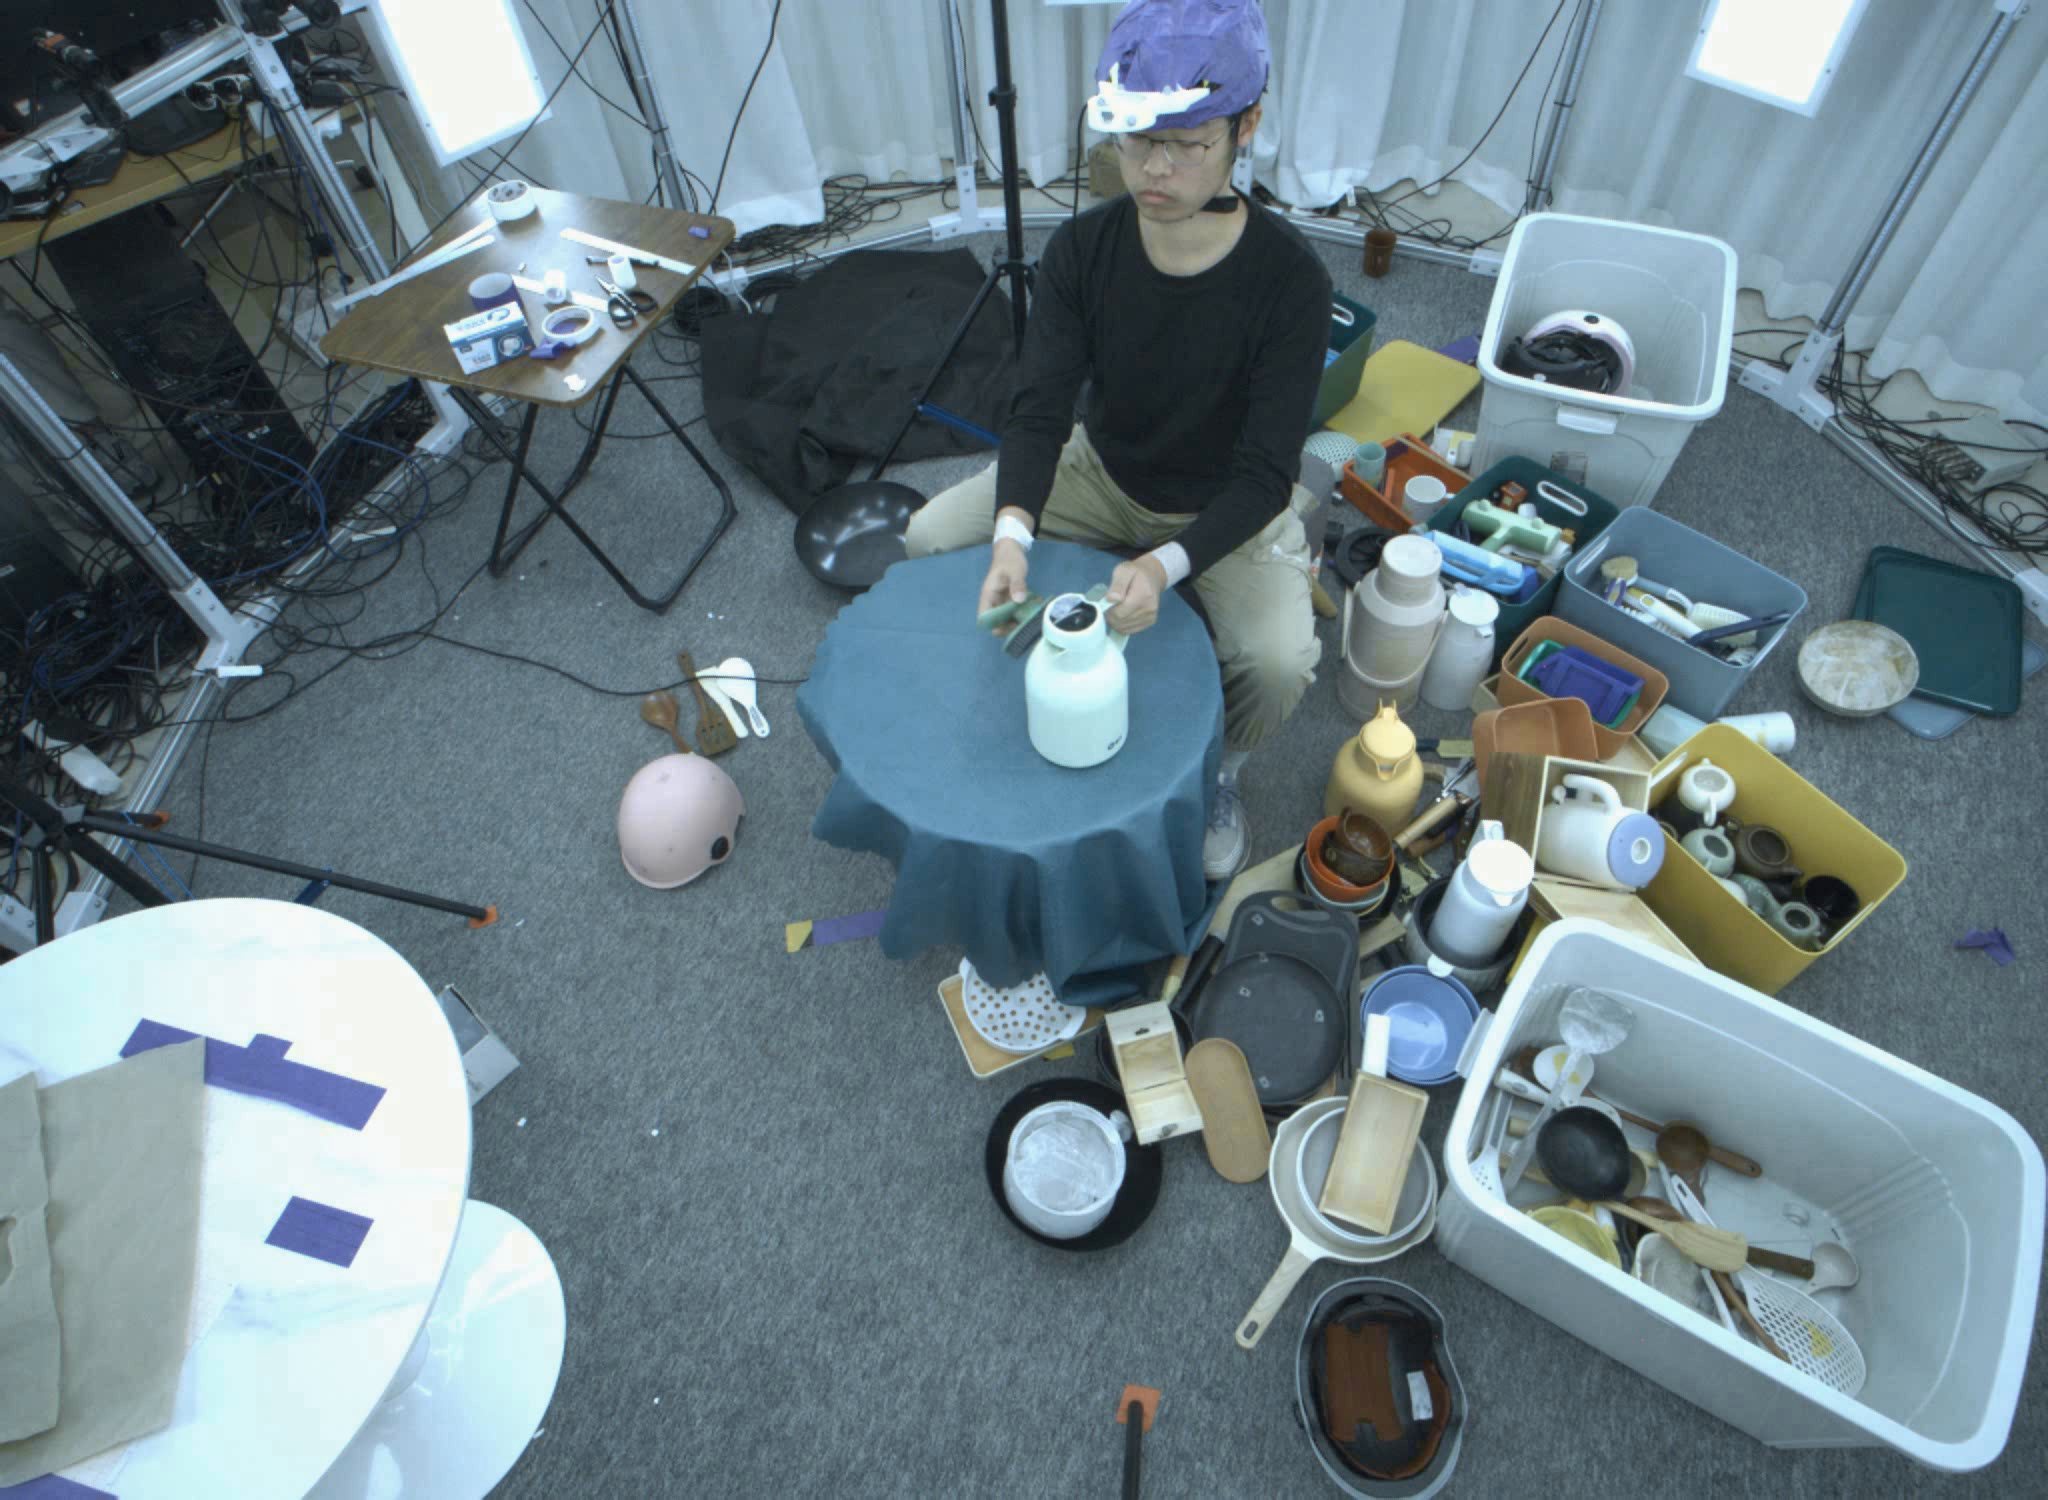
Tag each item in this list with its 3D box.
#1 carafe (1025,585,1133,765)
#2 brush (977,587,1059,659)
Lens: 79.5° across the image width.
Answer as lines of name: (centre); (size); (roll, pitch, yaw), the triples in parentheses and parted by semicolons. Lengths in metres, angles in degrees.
carafe: (0.082, -0.111, 1.705); (0.142, 0.259, 0.188); (34, 61, 24)
brush: (0.001, -0.178, 1.709); (0.124, 0.059, 0.075); (-30, 75, -33)
